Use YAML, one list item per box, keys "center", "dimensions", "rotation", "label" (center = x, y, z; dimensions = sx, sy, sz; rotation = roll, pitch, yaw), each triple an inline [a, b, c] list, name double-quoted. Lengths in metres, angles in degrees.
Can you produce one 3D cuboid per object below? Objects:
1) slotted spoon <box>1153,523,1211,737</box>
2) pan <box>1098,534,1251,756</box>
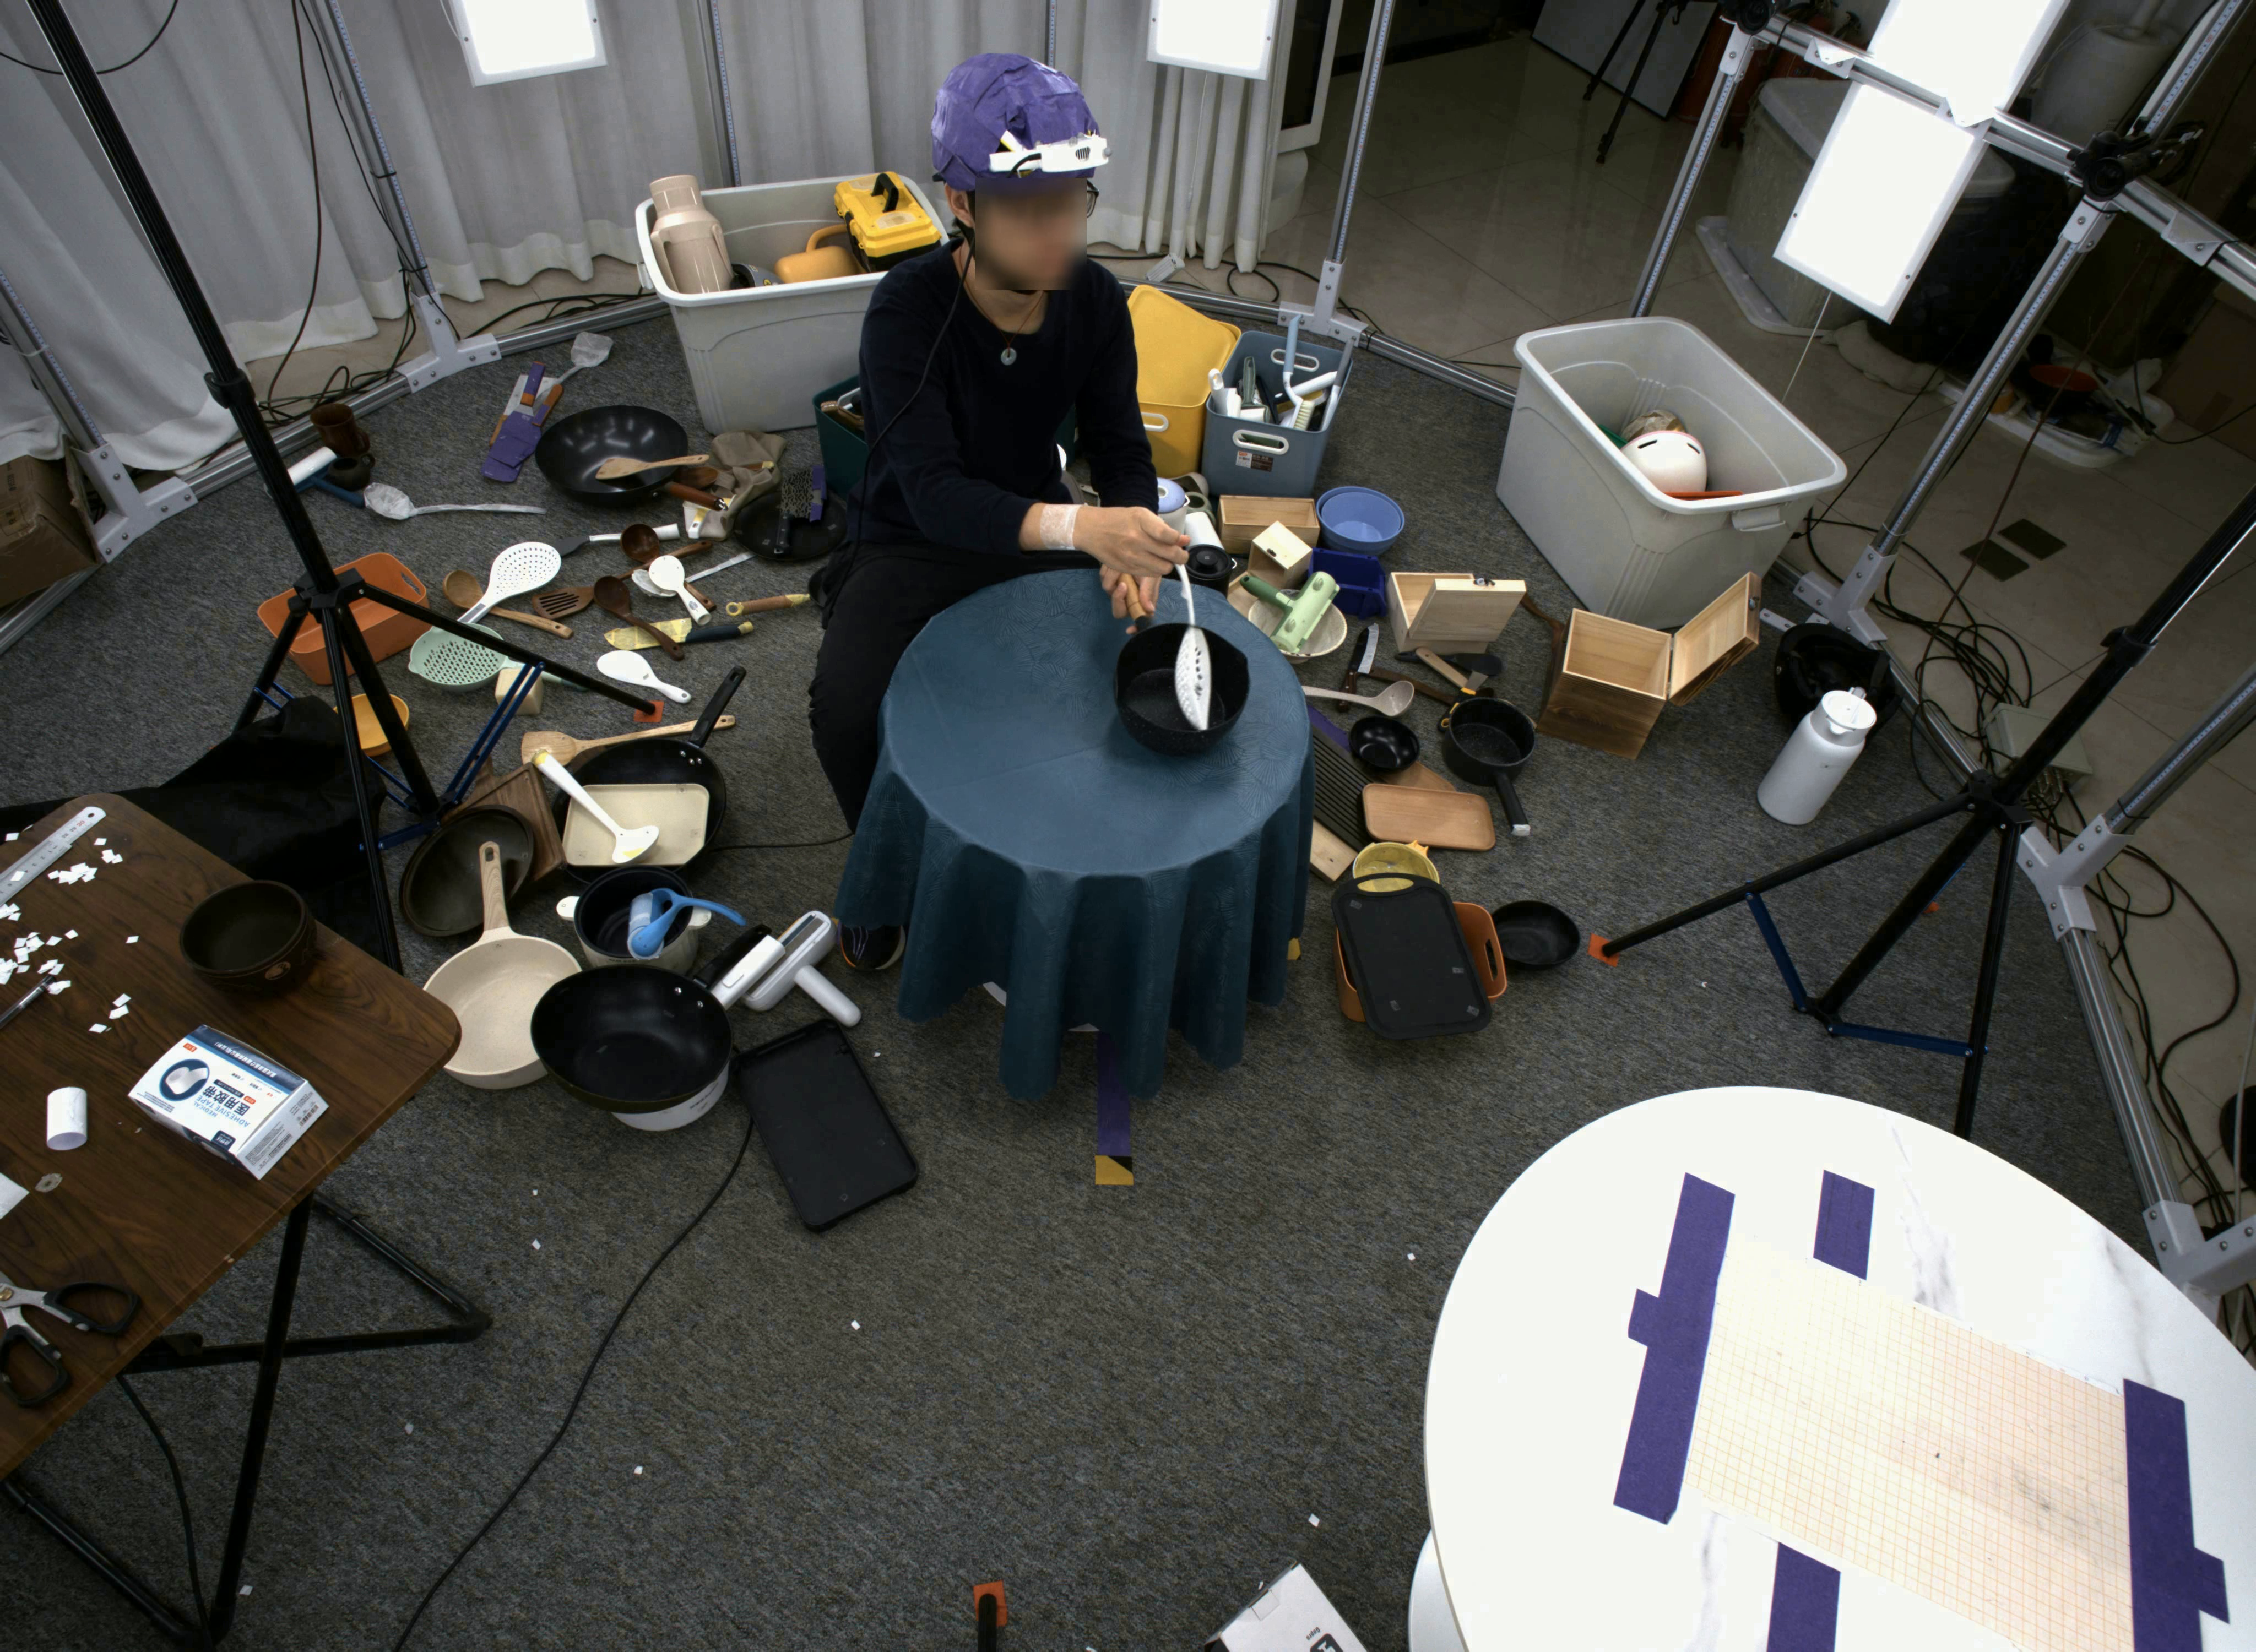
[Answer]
- center: [0.071, -0.253, 1.629]
  dimensions: [0.050, 0.339, 0.140]
  rotation: [2, 54, 8]
  label: "slotted spoon"
- center: [0.035, -0.250, 1.787]
  dimensions: [0.208, 0.106, 0.349]
  rotation: [-21, 64, -19]
  label: "pan"
